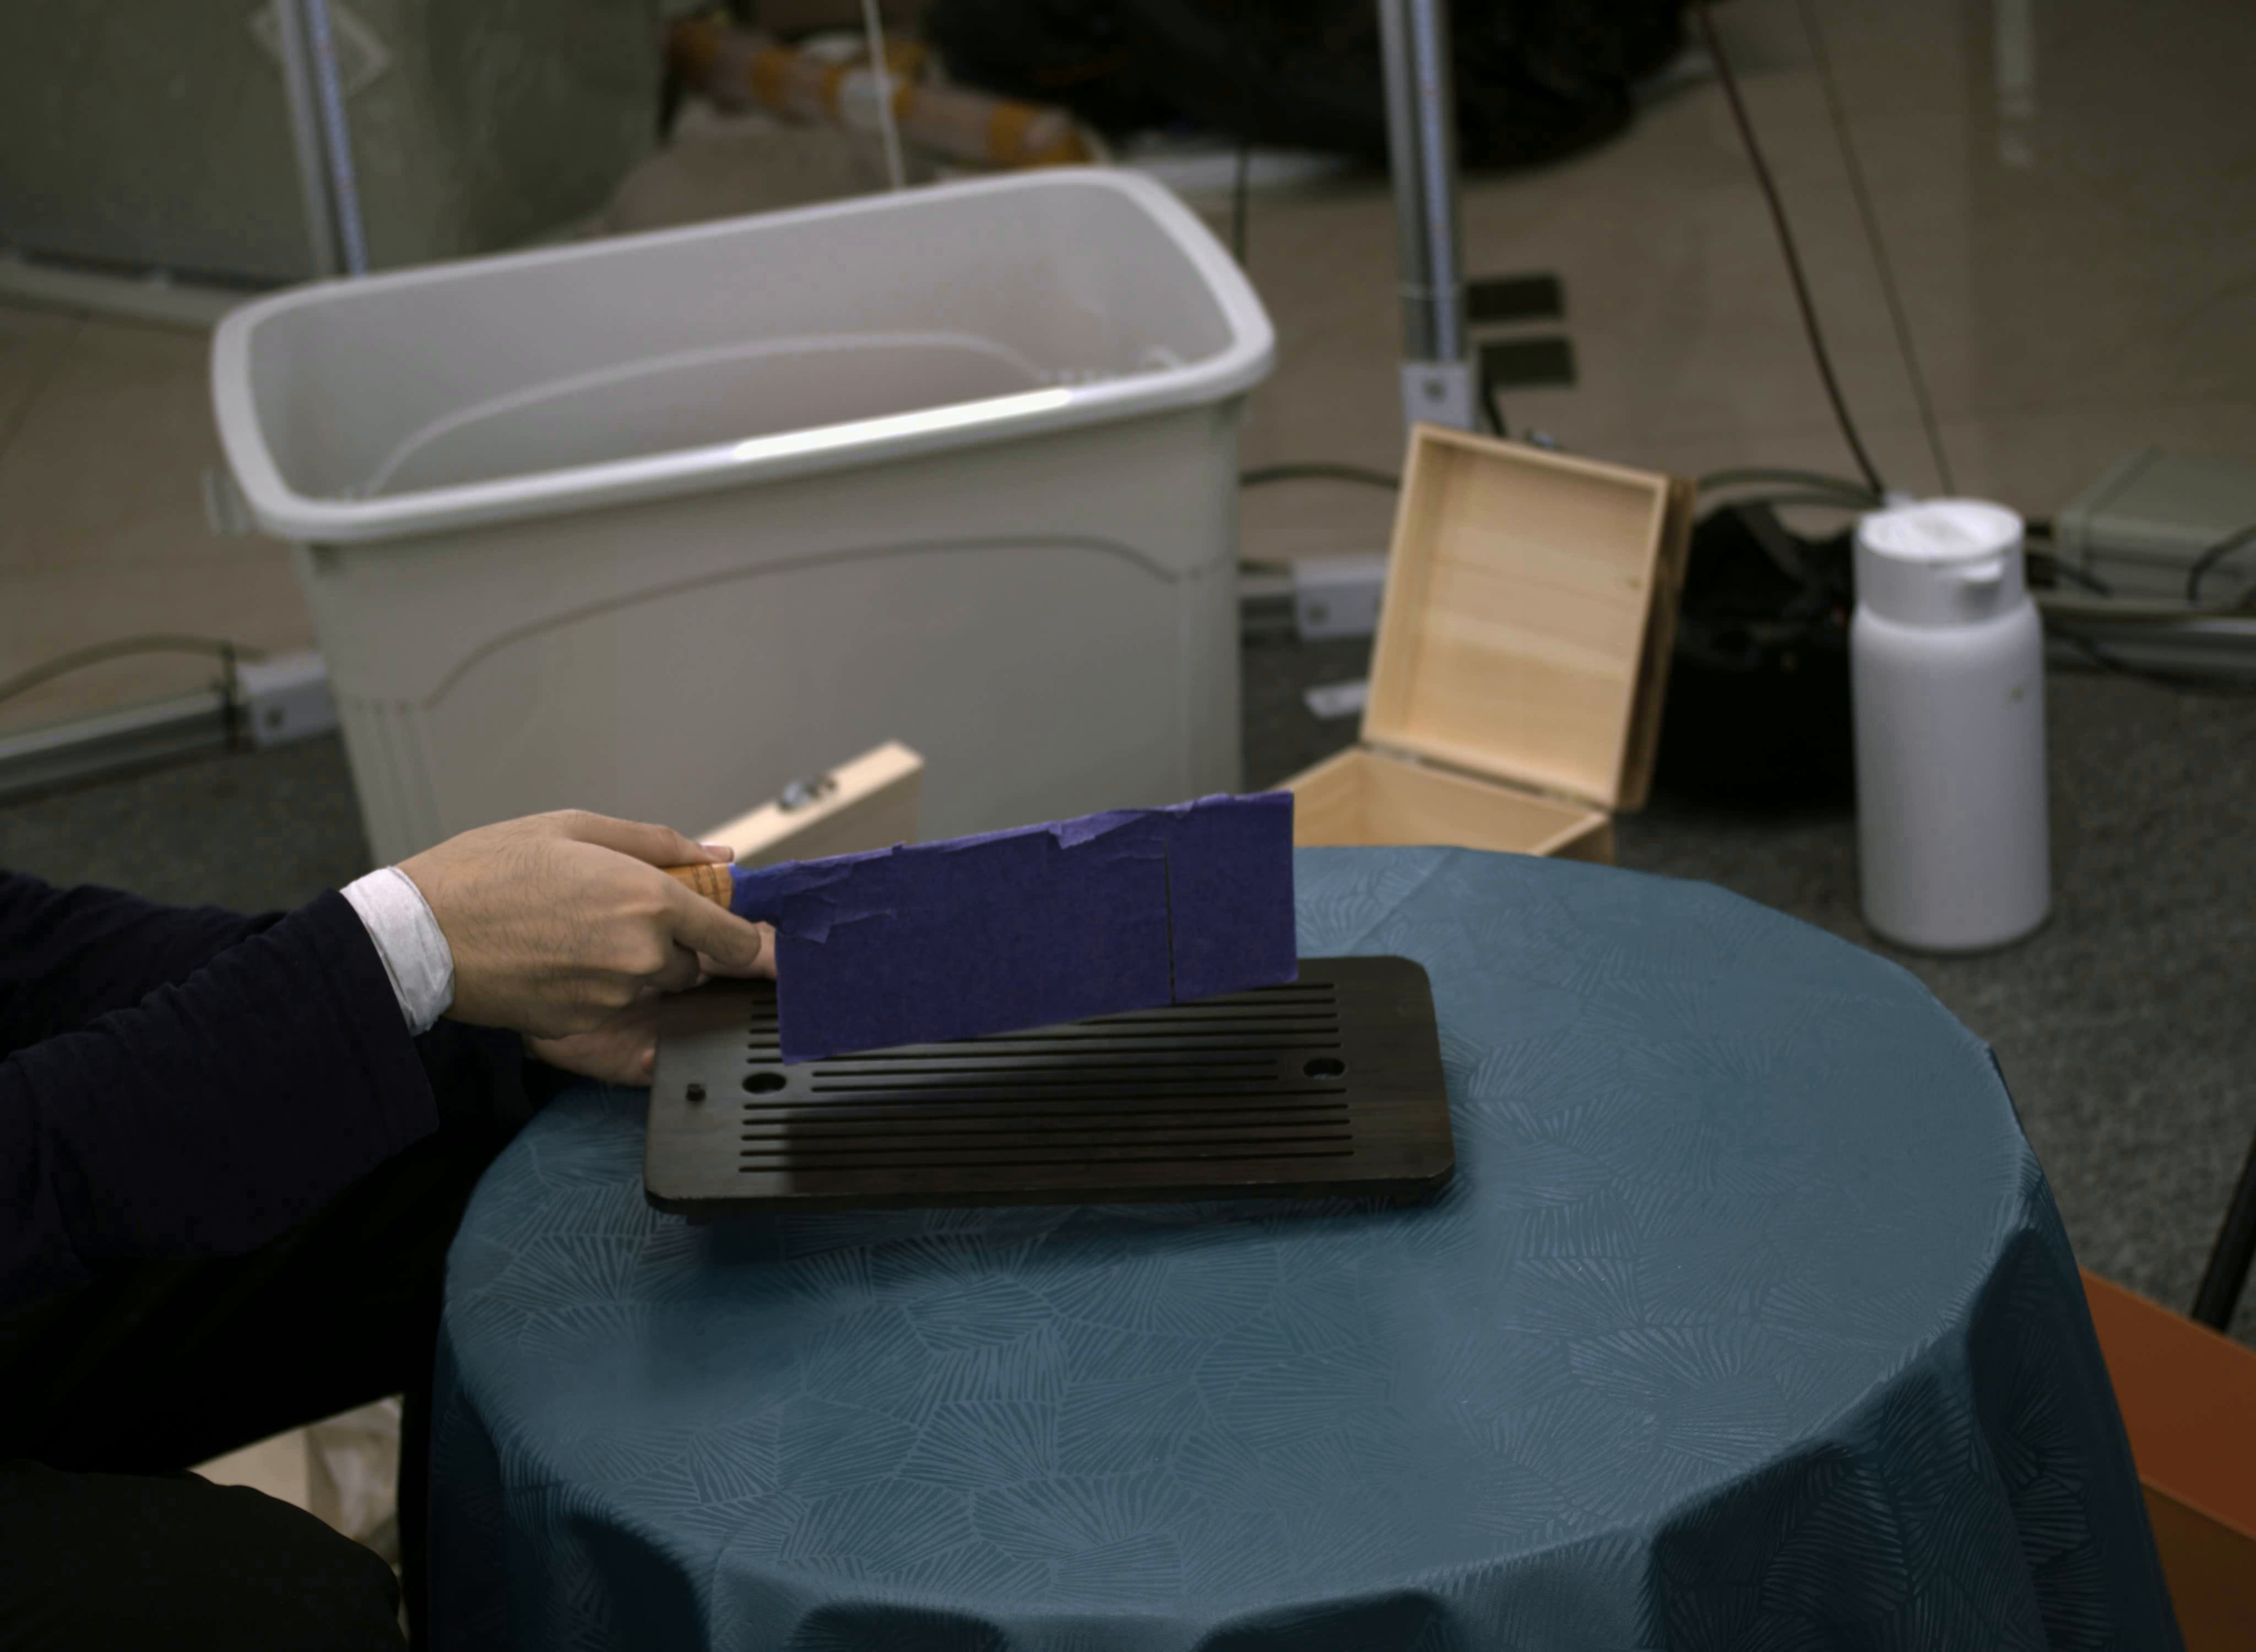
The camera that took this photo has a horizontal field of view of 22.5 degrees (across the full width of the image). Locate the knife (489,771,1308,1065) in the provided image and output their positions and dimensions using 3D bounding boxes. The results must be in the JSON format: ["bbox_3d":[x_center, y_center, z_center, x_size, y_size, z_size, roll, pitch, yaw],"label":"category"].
[{"bbox_3d":[-0.083,0.047,2.153,0.314,0.106,0.031,-8,32,-10],"label":"knife"}]

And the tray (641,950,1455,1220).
[{"bbox_3d":[-0.032,0.100,2.183,0.305,0.019,0.167,-2,29,-1],"label":"tray"}]
